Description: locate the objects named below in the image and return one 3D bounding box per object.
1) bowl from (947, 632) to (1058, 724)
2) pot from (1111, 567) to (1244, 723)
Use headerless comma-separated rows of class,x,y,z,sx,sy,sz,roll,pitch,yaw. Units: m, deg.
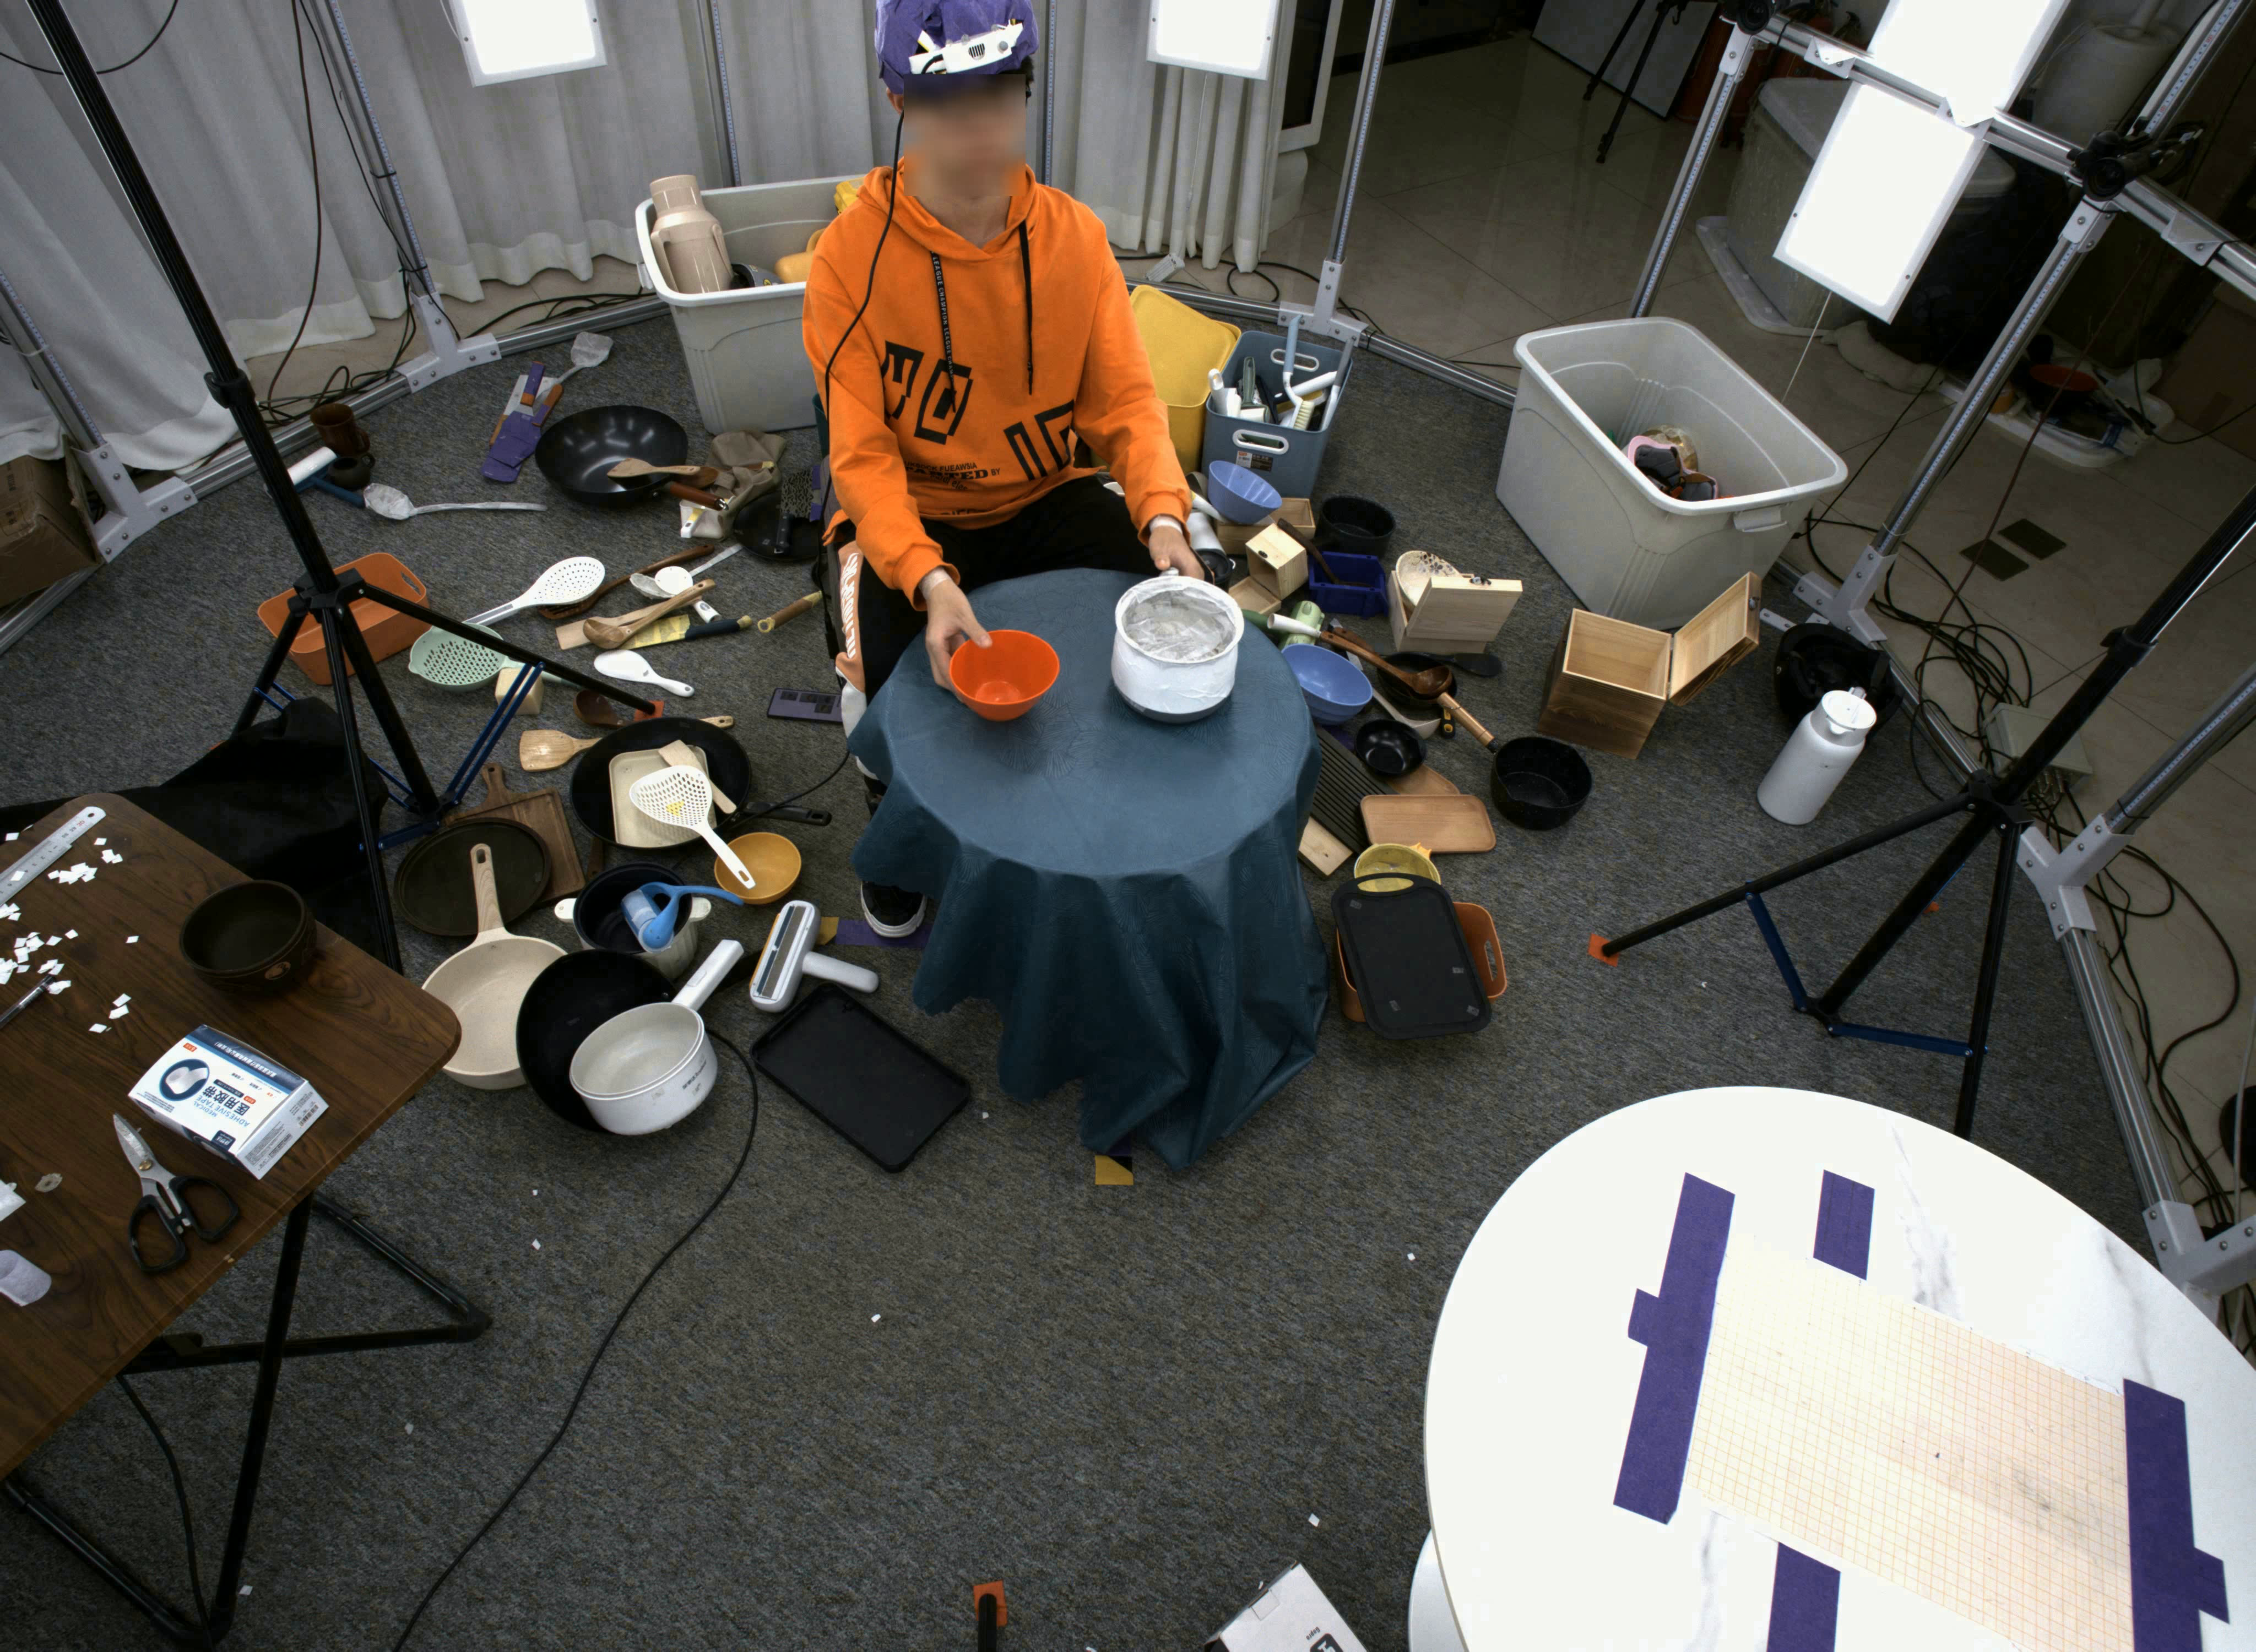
bowl,-0.172,-0.189,1.757,0.148,0.102,0.151,3,54,-4
pot,0.063,-0.265,1.814,0.178,0.133,0.239,-2,50,-7
